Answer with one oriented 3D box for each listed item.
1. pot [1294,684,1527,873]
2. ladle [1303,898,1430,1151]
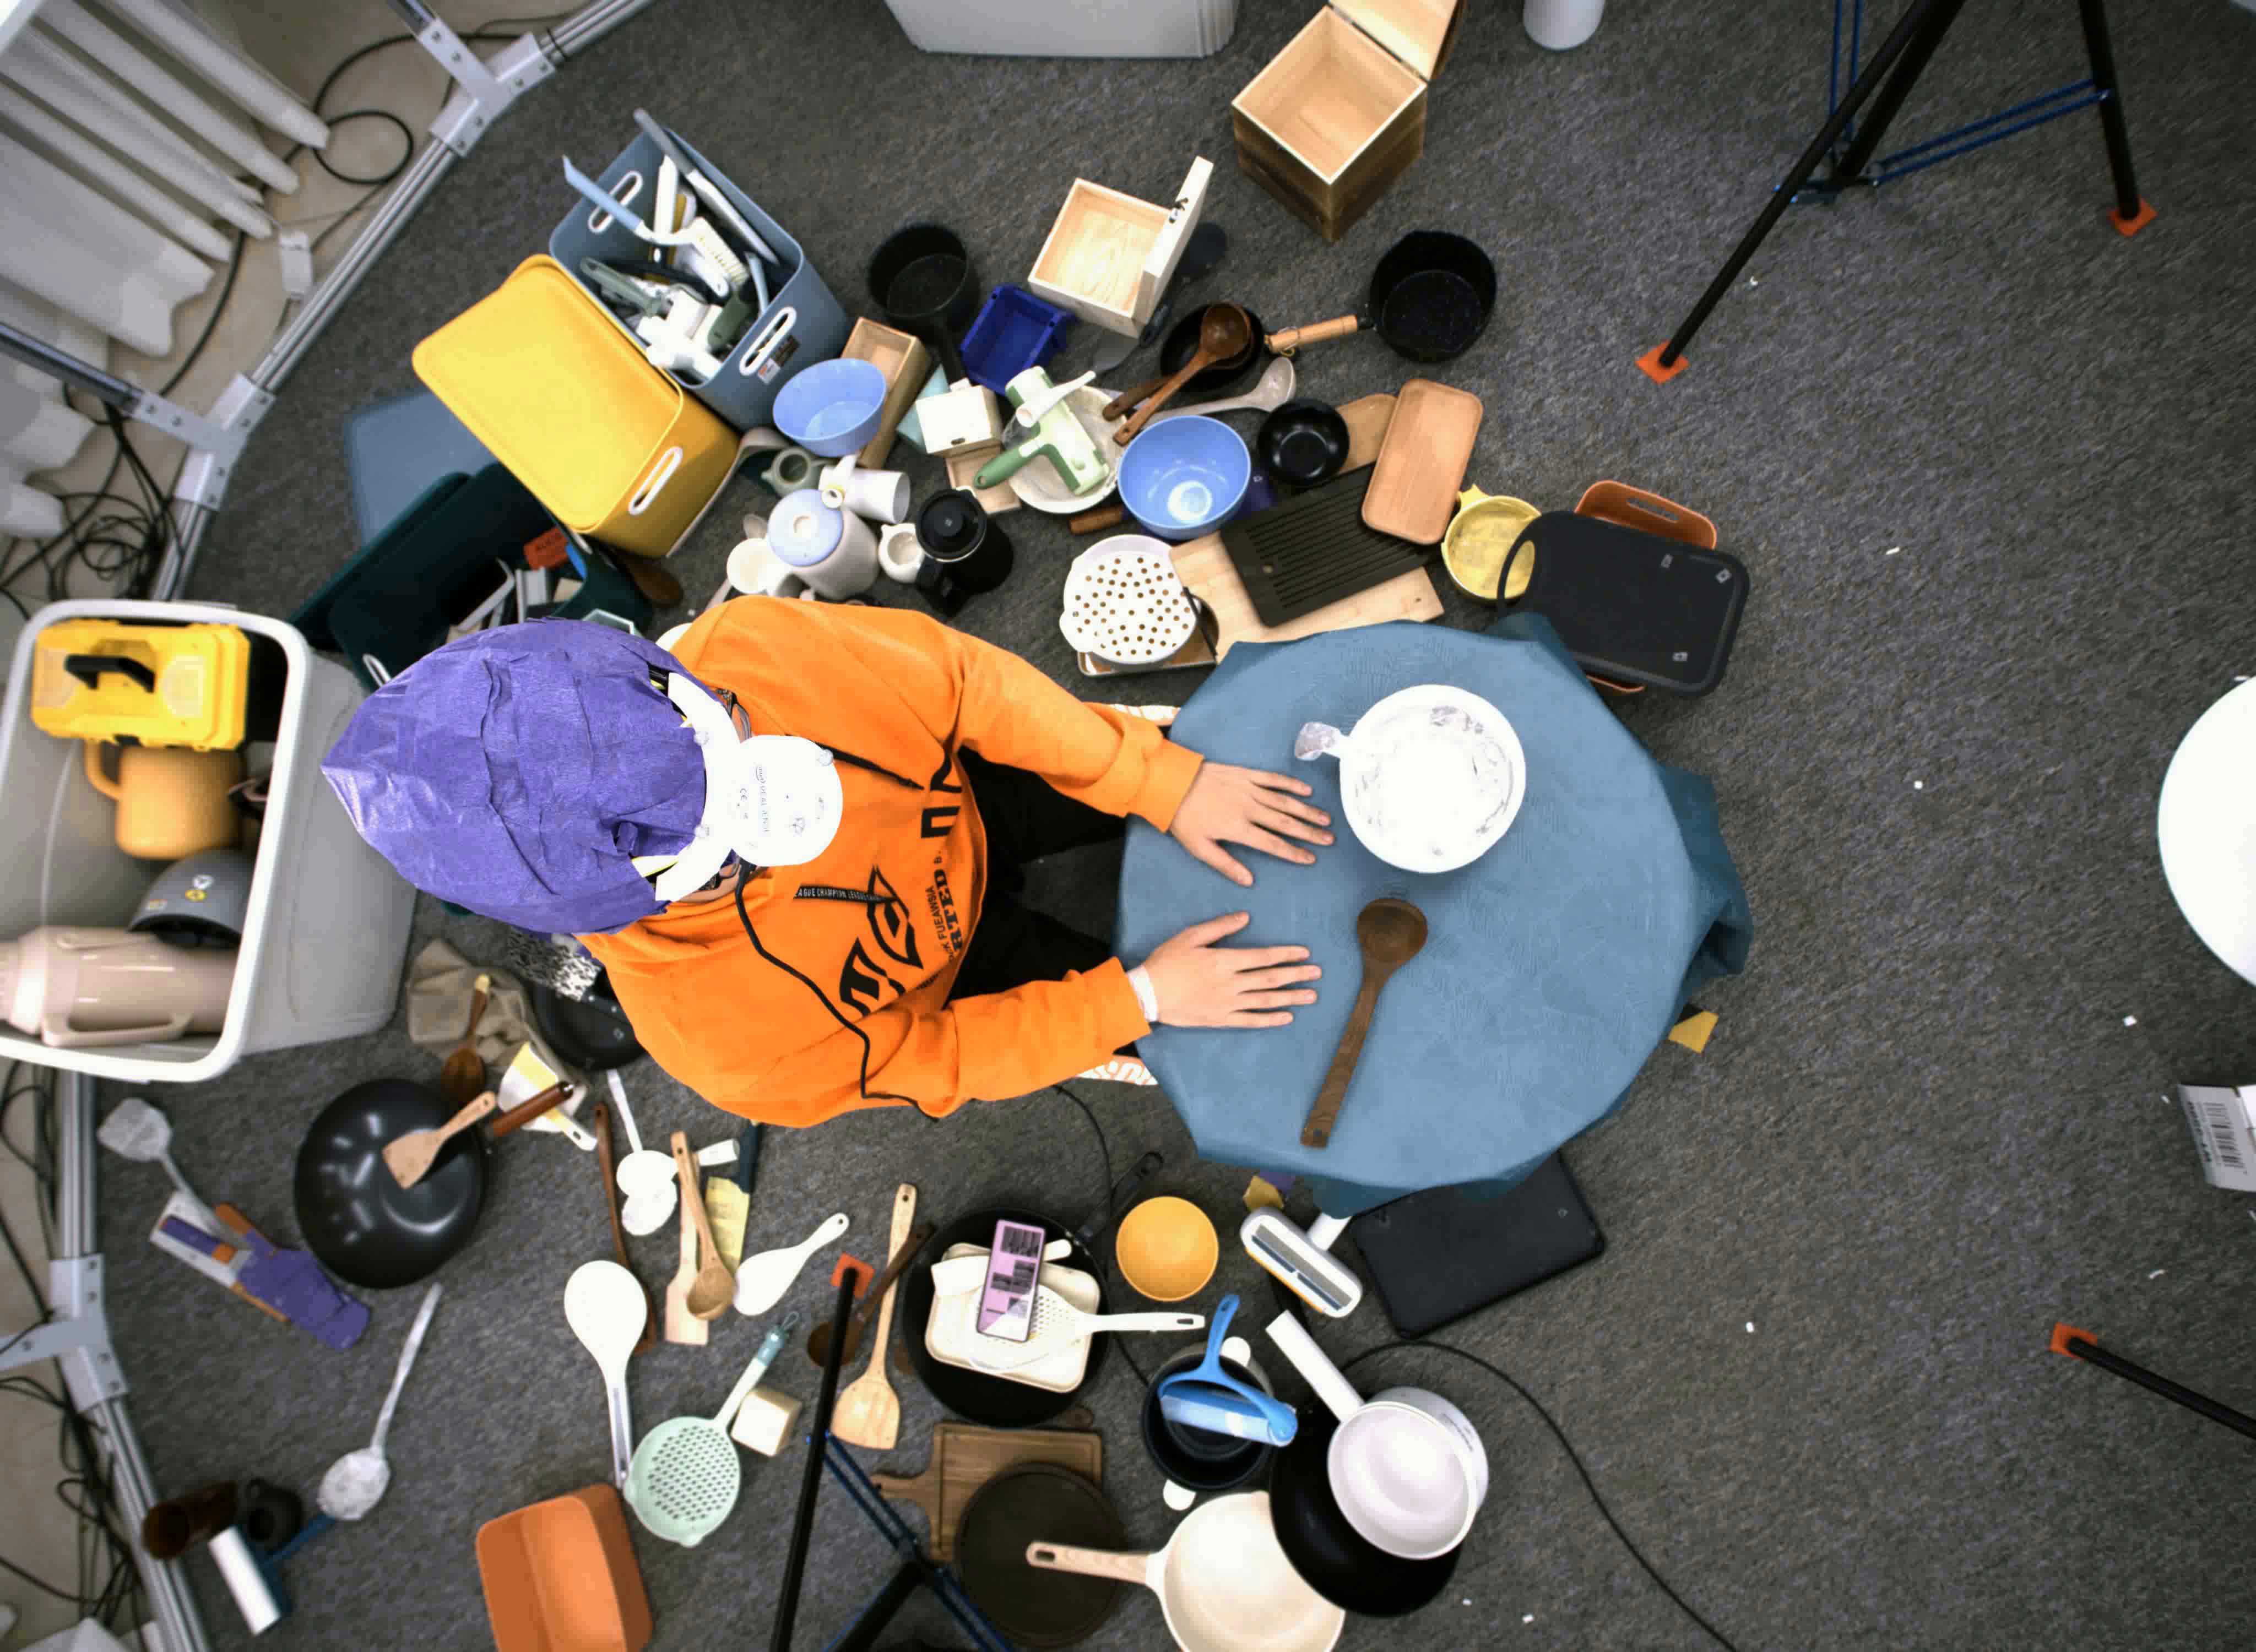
[{"bbox_3d":[0.279,-0.054,1.396,0.234,0.137,0.178,20,89,11],"label":"pot"},{"bbox_3d":[0.236,0.205,1.423,0.076,0.071,0.274,21,90,14],"label":"ladle"}]
